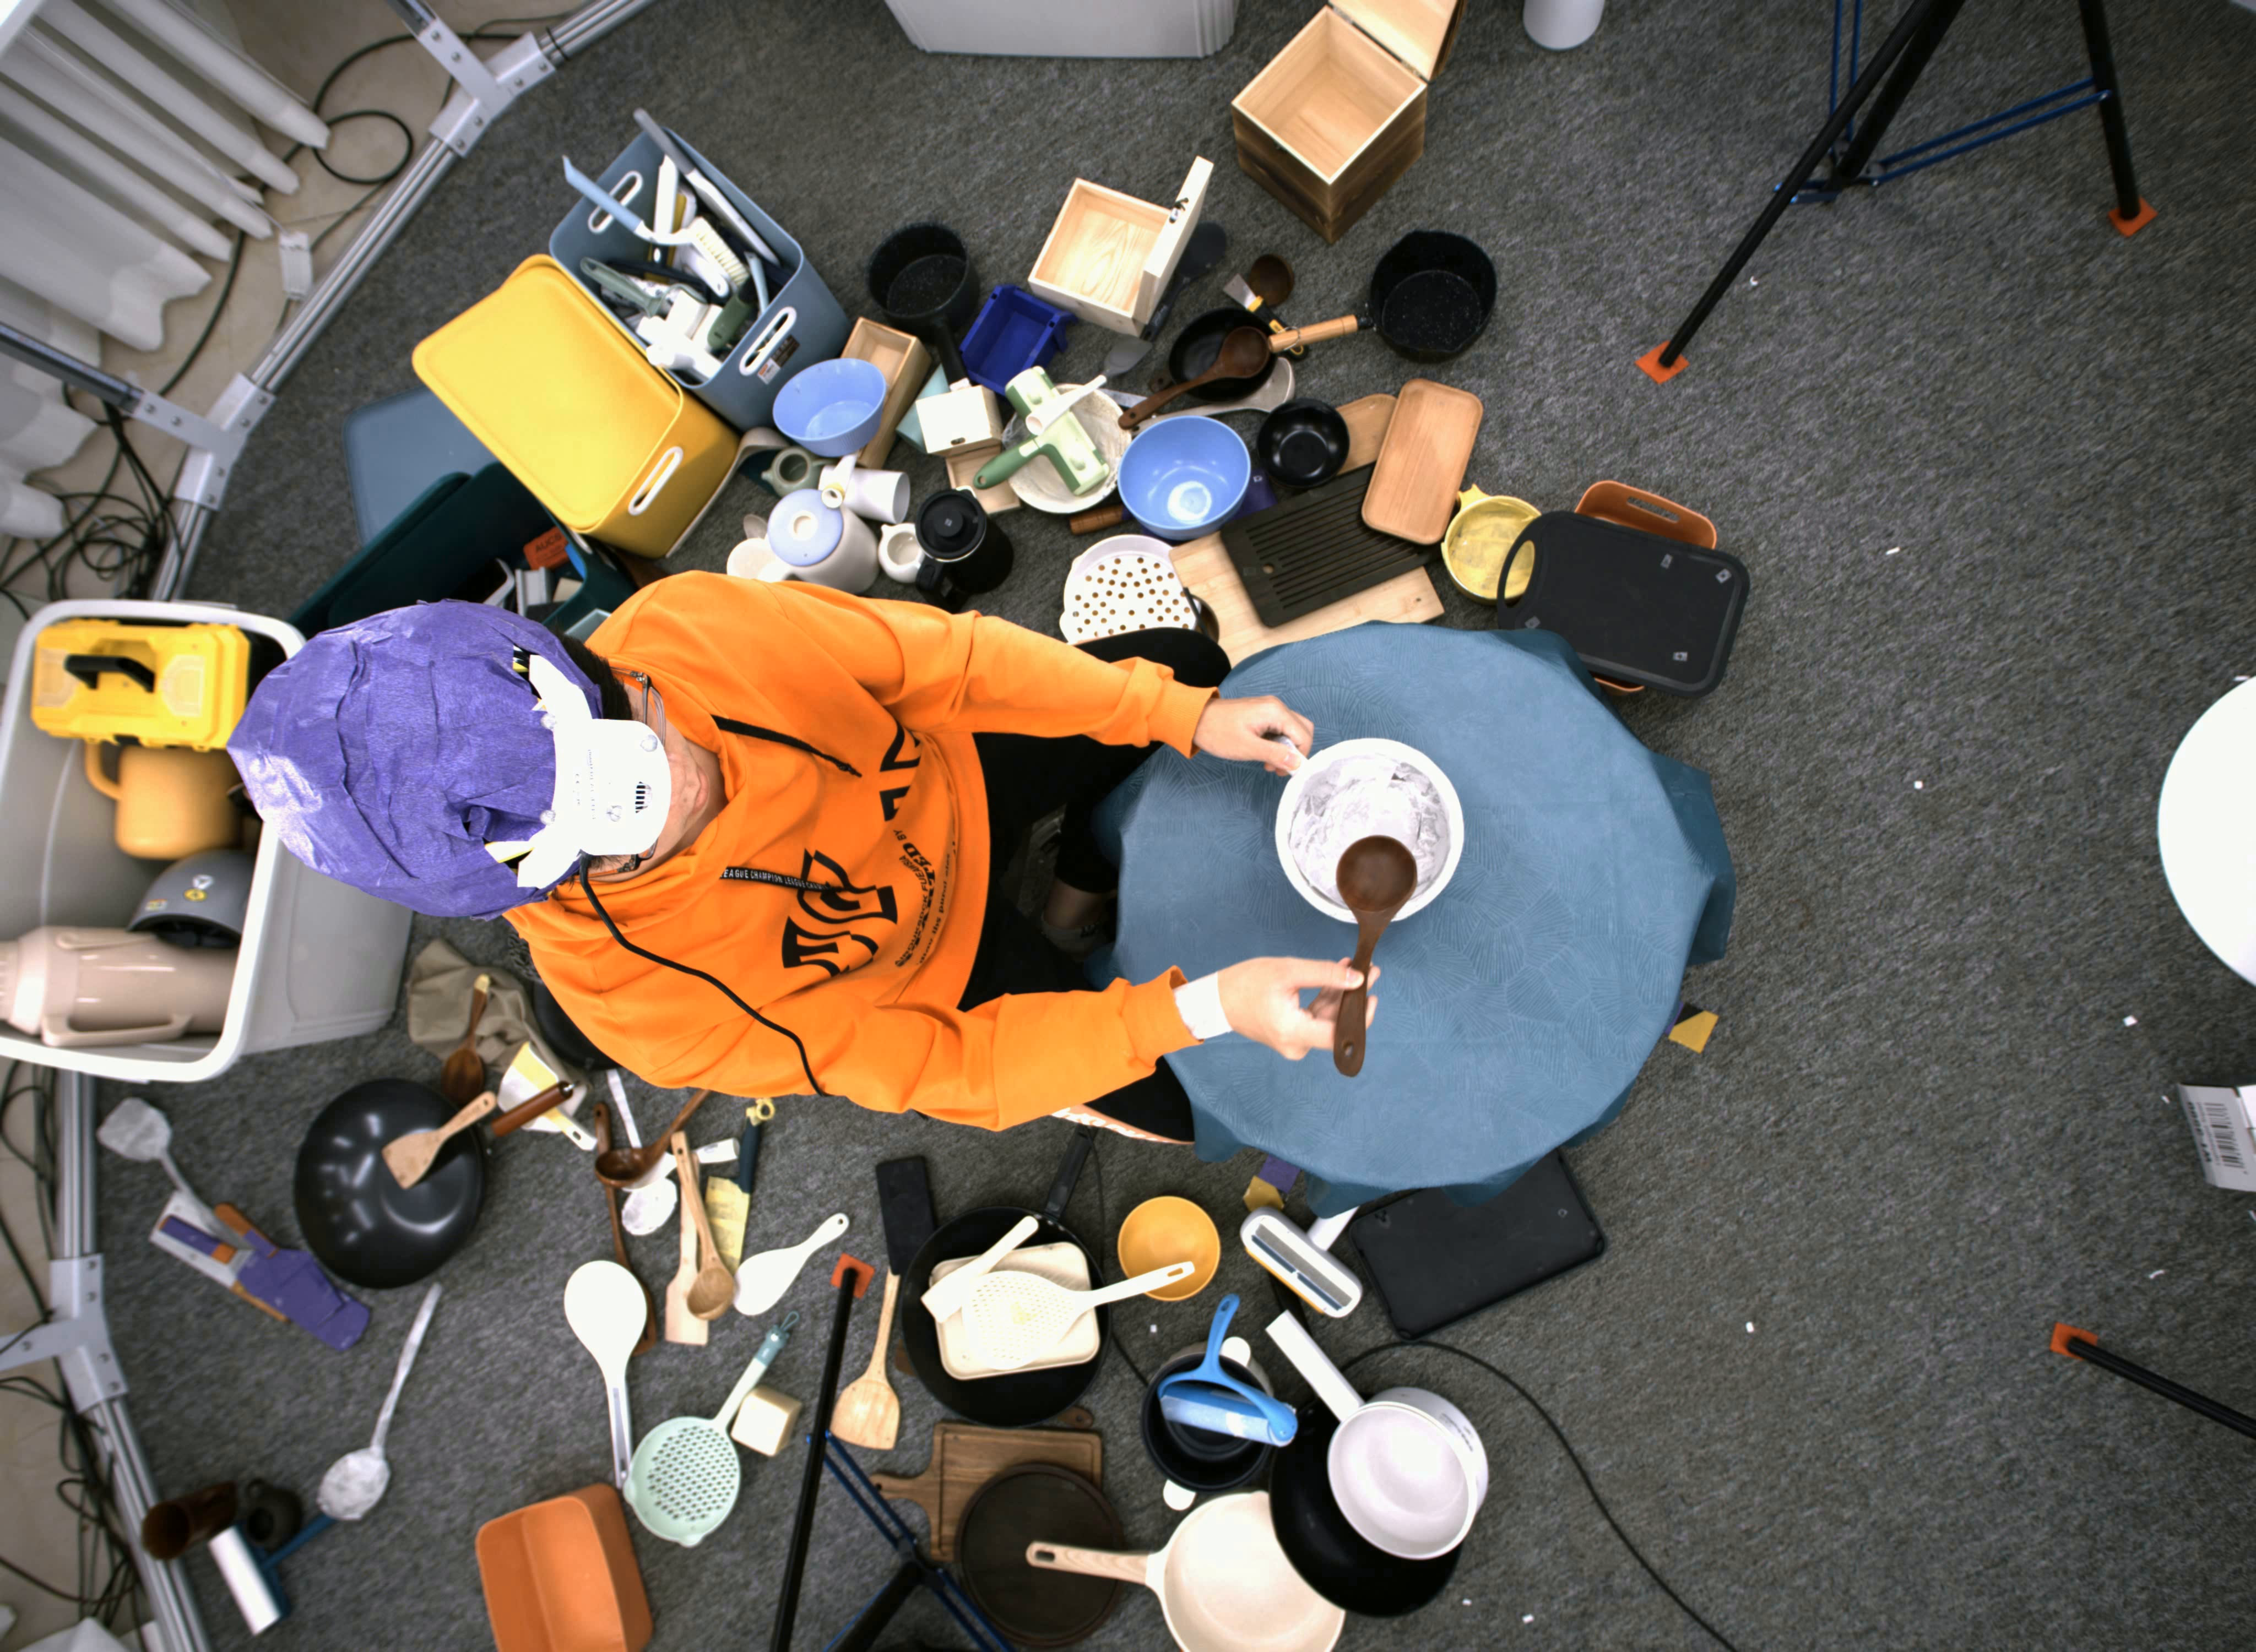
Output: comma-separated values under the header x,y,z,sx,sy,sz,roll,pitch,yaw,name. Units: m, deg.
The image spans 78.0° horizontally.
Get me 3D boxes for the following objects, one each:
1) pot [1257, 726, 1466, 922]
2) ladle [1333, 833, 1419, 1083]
x,y,z,sx,sy,sz,roll,pitch,yaw,name
0.219,-0.014,1.373,0.233,0.136,0.179,42,96,7,pot
0.201,0.104,1.188,0.077,0.253,0.066,-5,127,24,ladle
